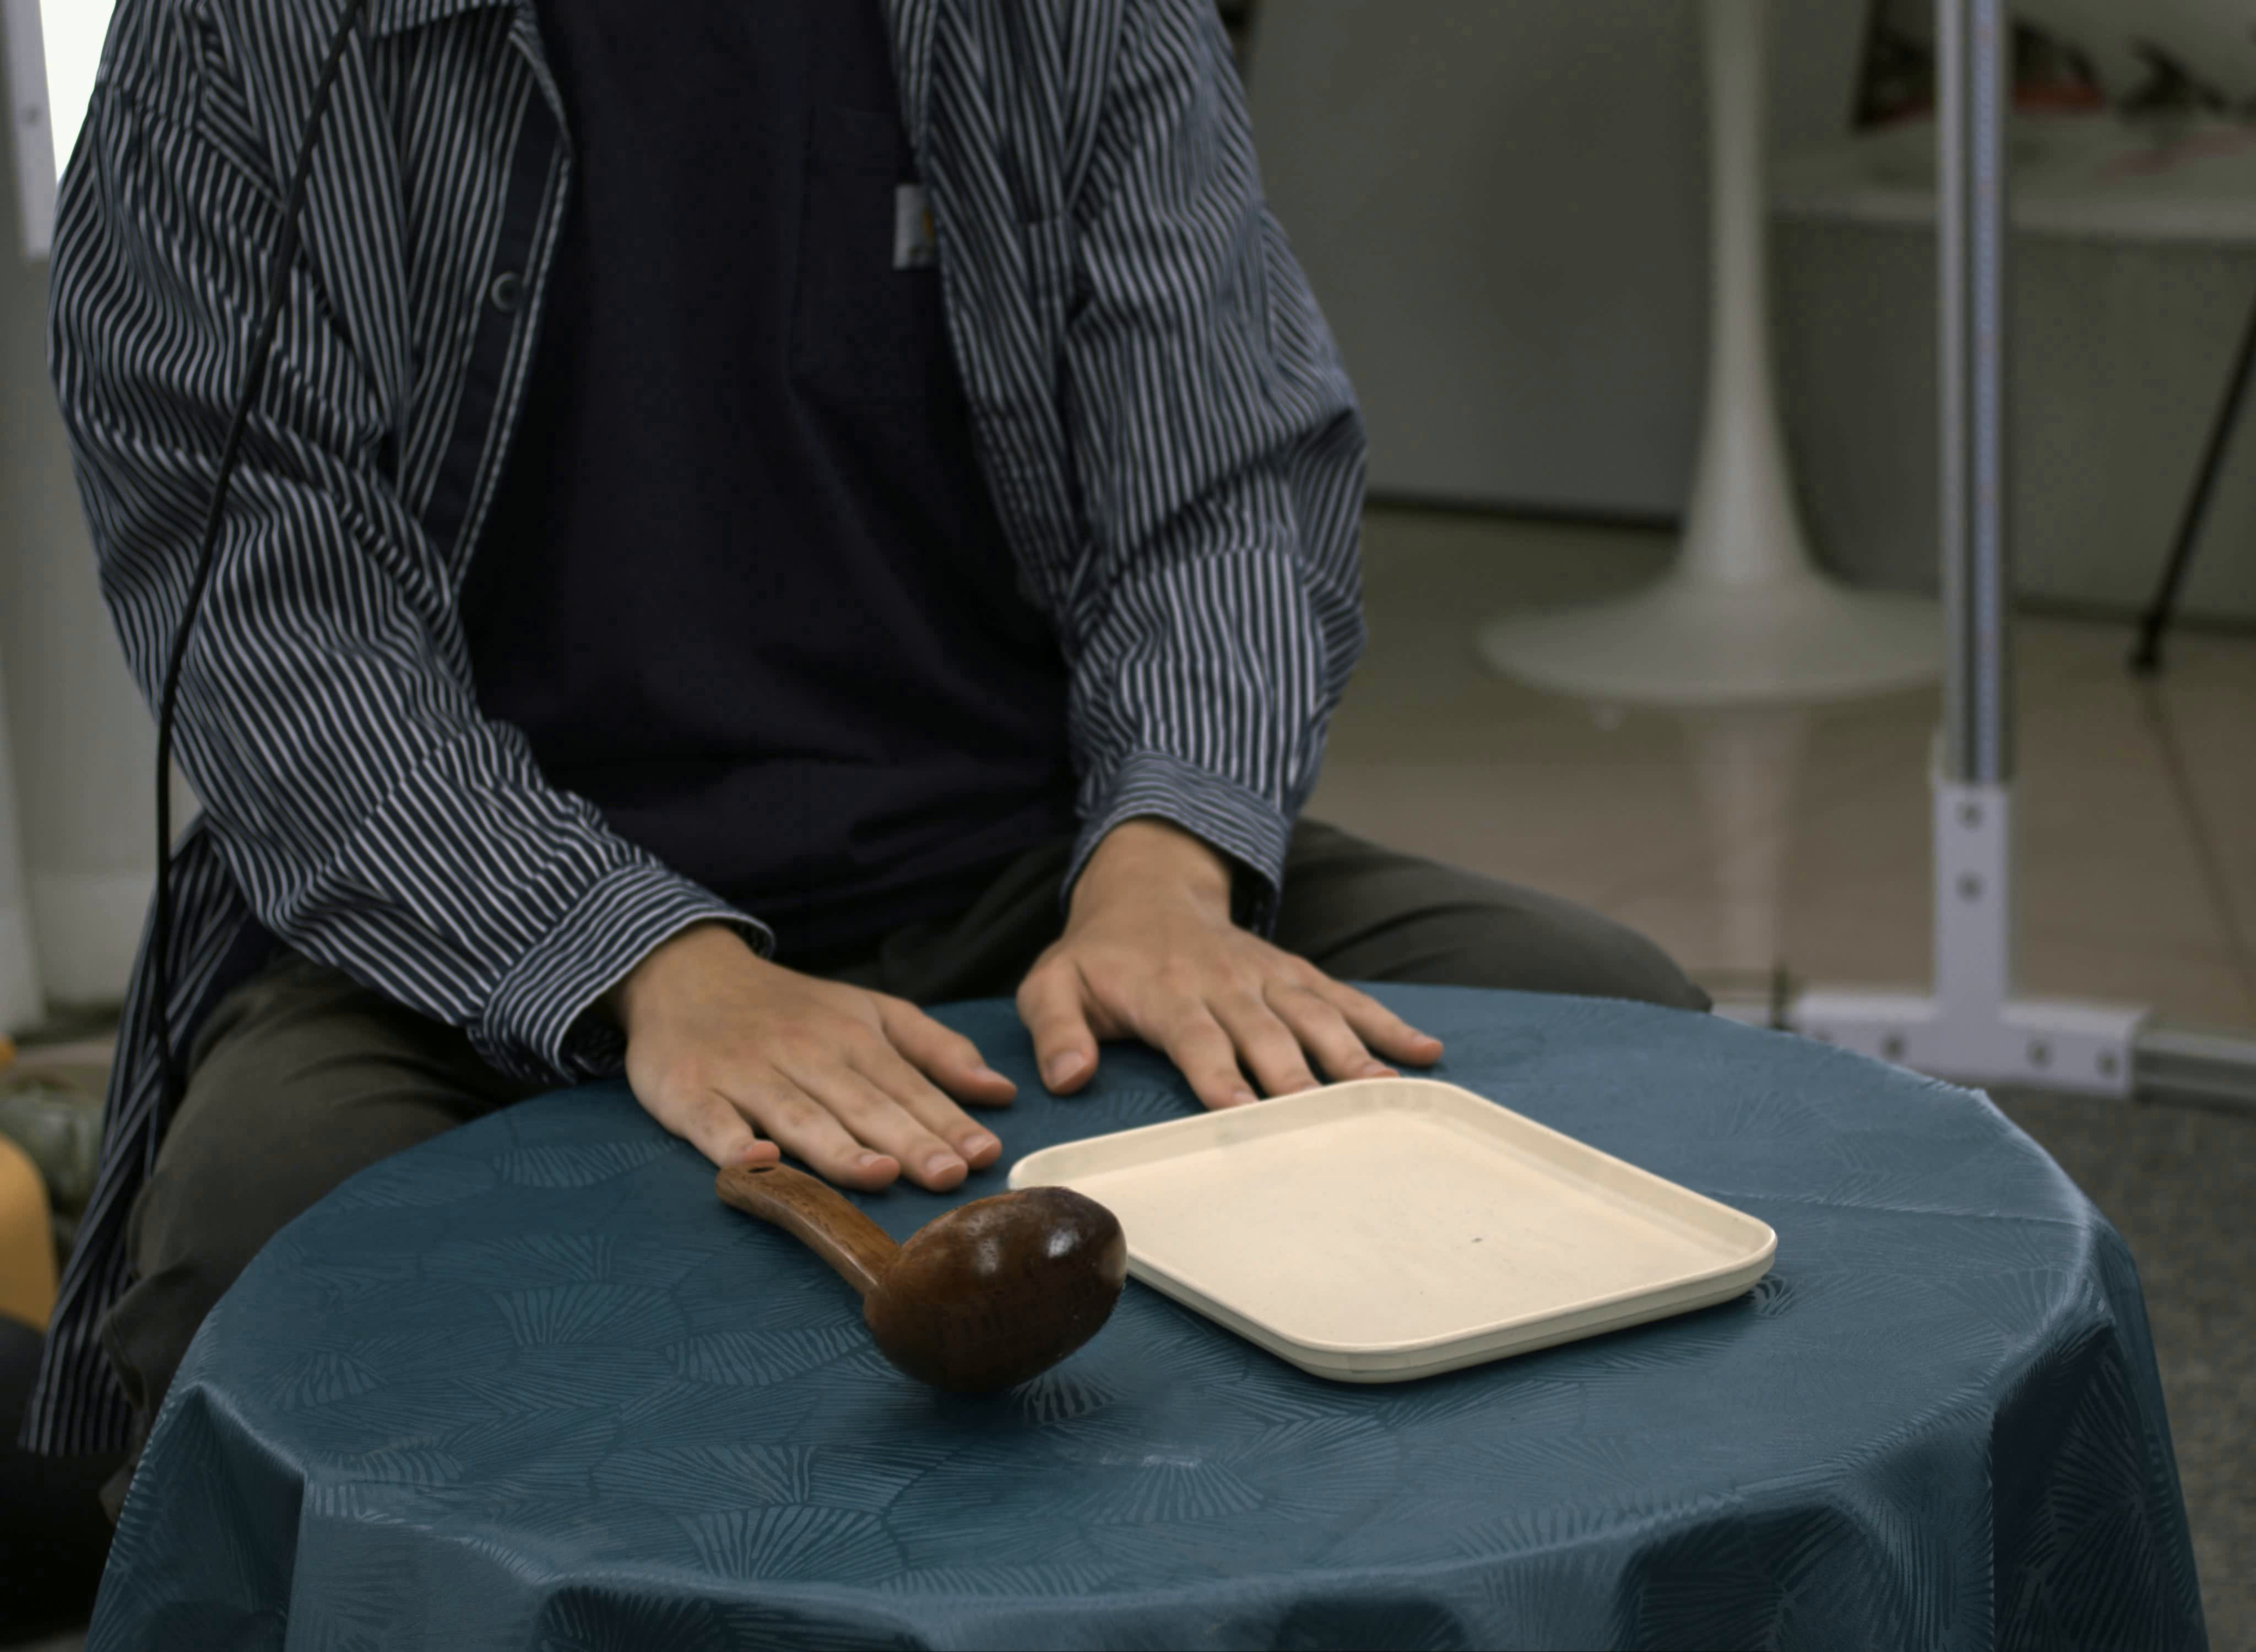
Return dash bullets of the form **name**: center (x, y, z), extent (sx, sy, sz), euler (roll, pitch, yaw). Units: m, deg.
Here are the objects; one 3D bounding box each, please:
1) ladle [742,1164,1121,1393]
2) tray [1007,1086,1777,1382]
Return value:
- **ladle**: center (-0.076, 0.113, 1.660), extent (0.080, 0.077, 0.276), euler (-4, 13, -19)
- **tray**: center (0.080, 0.126, 1.688), extent (0.167, 0.017, 0.242), euler (-10, 15, -26)
